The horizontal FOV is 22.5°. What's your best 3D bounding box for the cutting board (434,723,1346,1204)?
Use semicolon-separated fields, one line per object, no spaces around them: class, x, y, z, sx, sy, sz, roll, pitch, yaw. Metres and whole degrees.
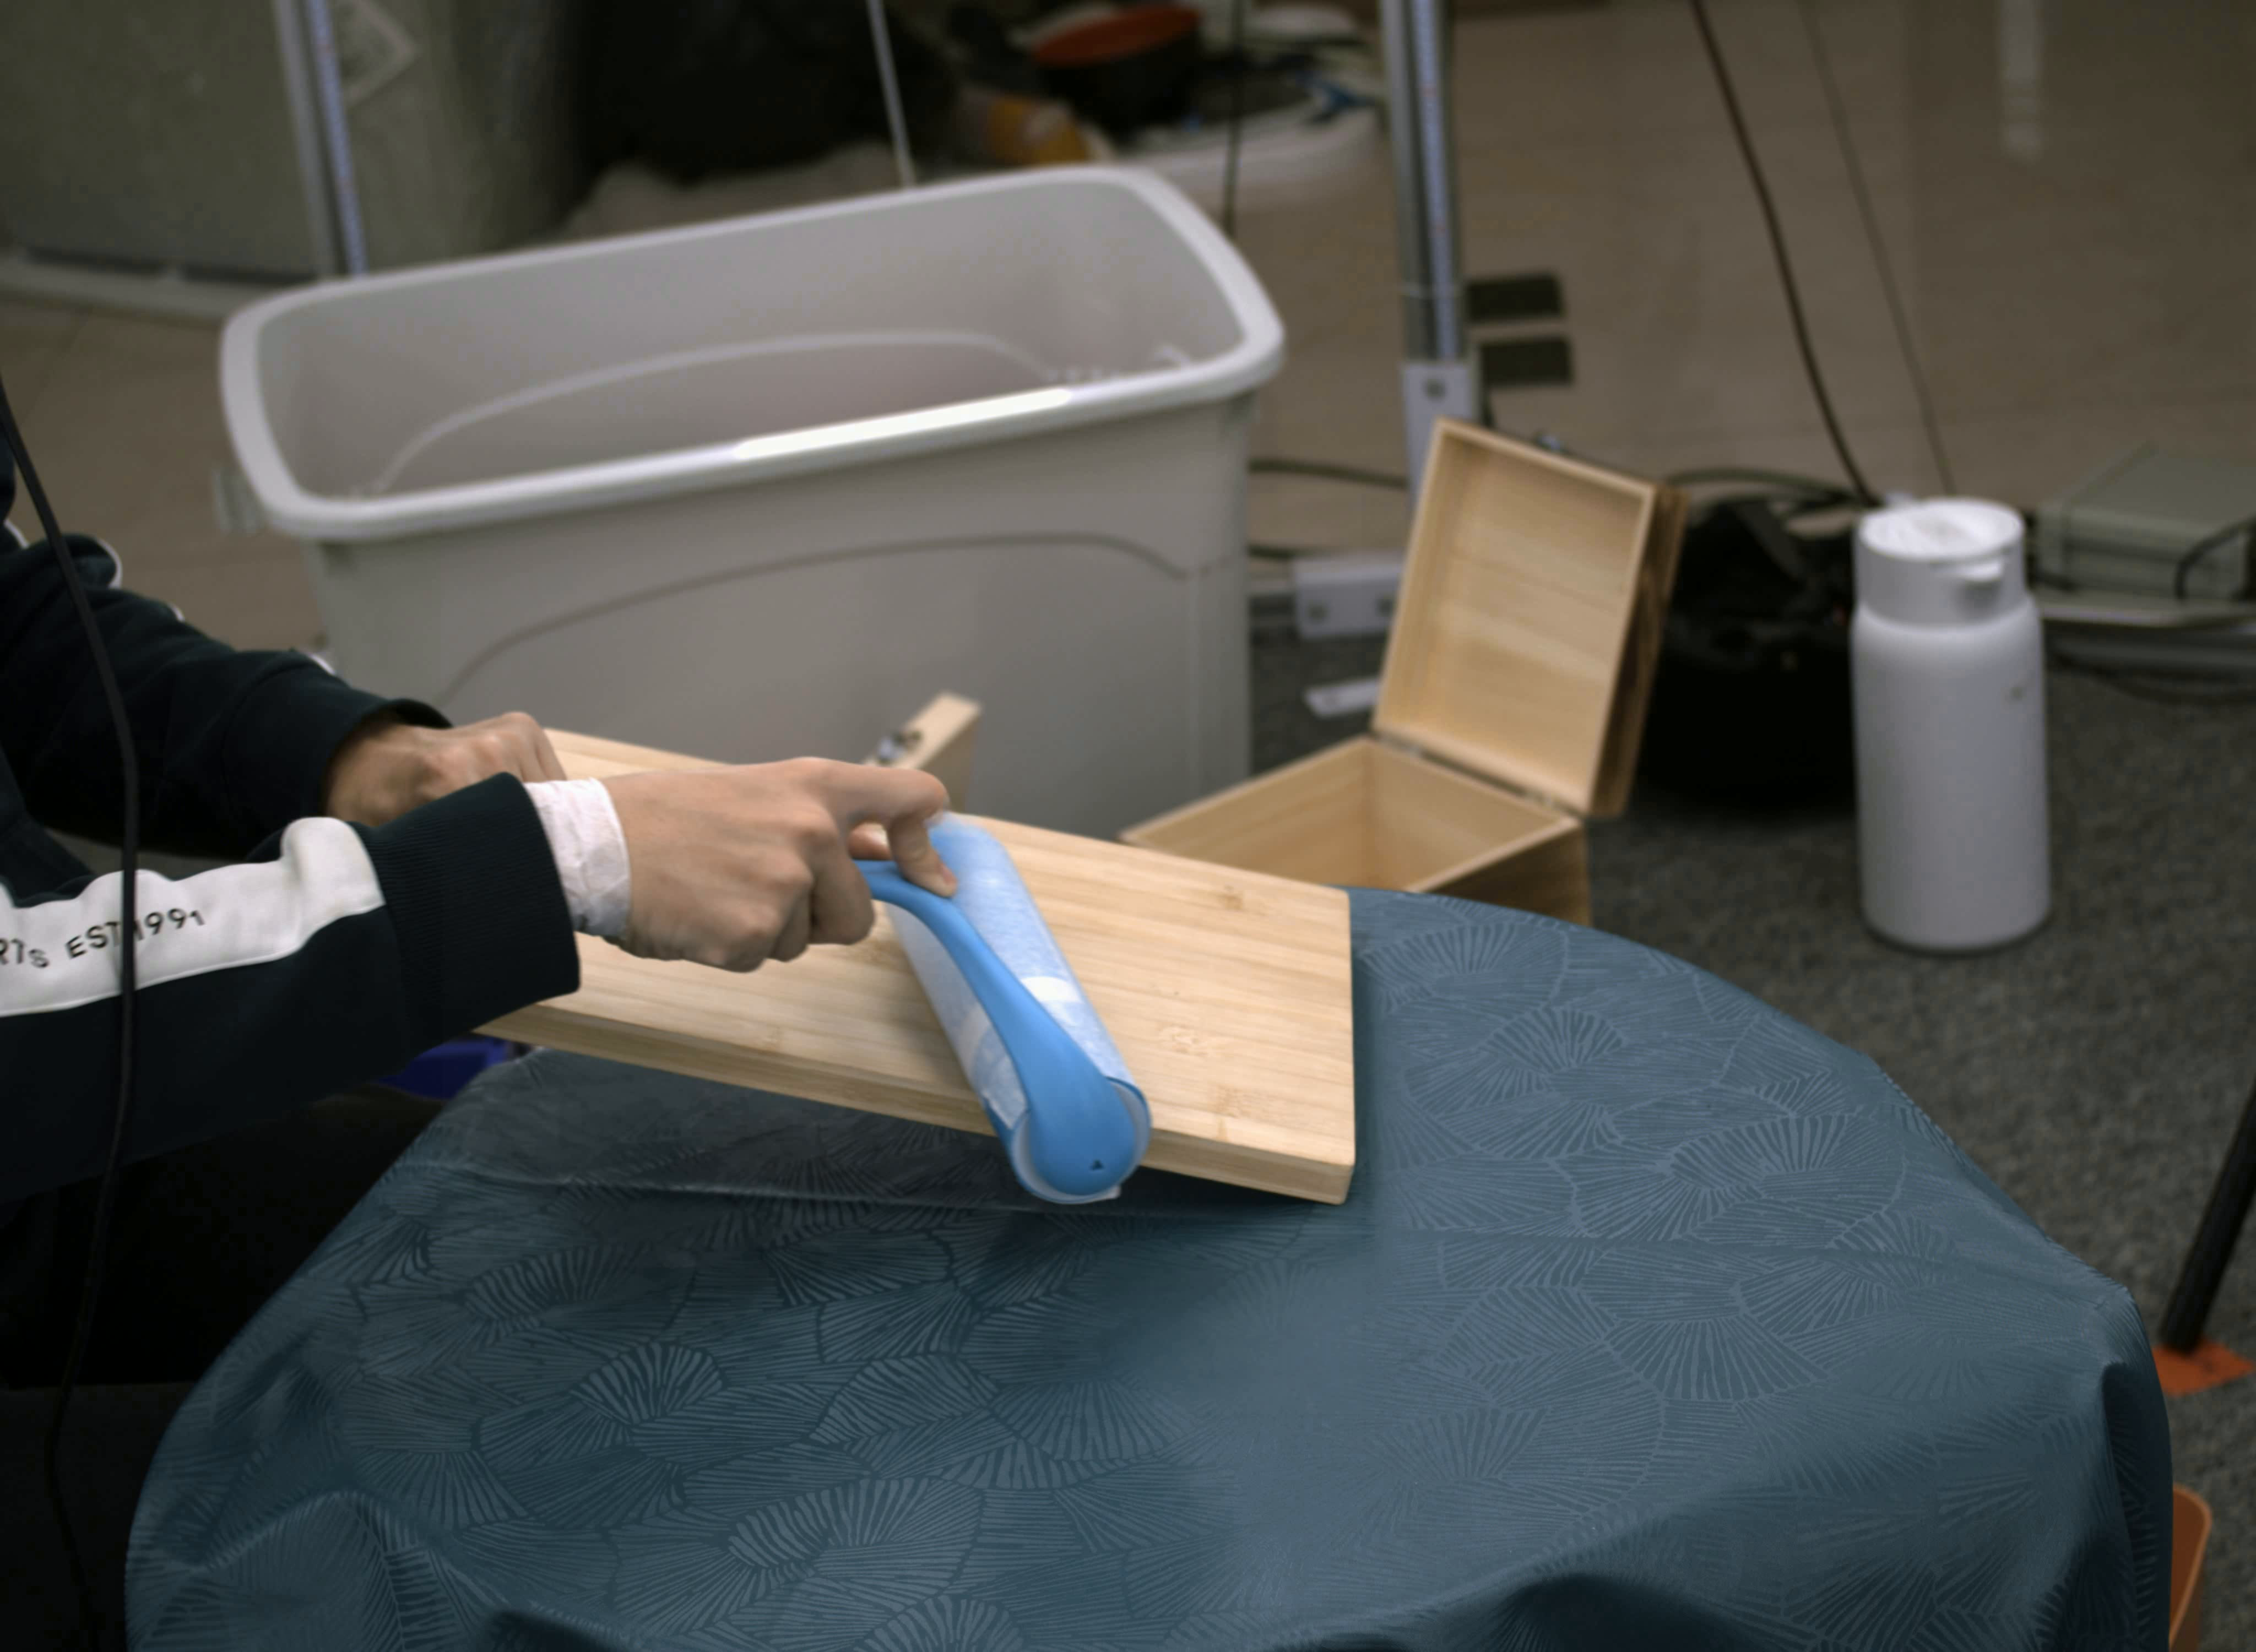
cutting board;-0.084;0.051;2.209;0.348;0.024;0.247;11;25;-5

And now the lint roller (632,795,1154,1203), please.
lint roller;-0.090;0.047;2.077;0.181;0.068;0.225;23;20;-31
